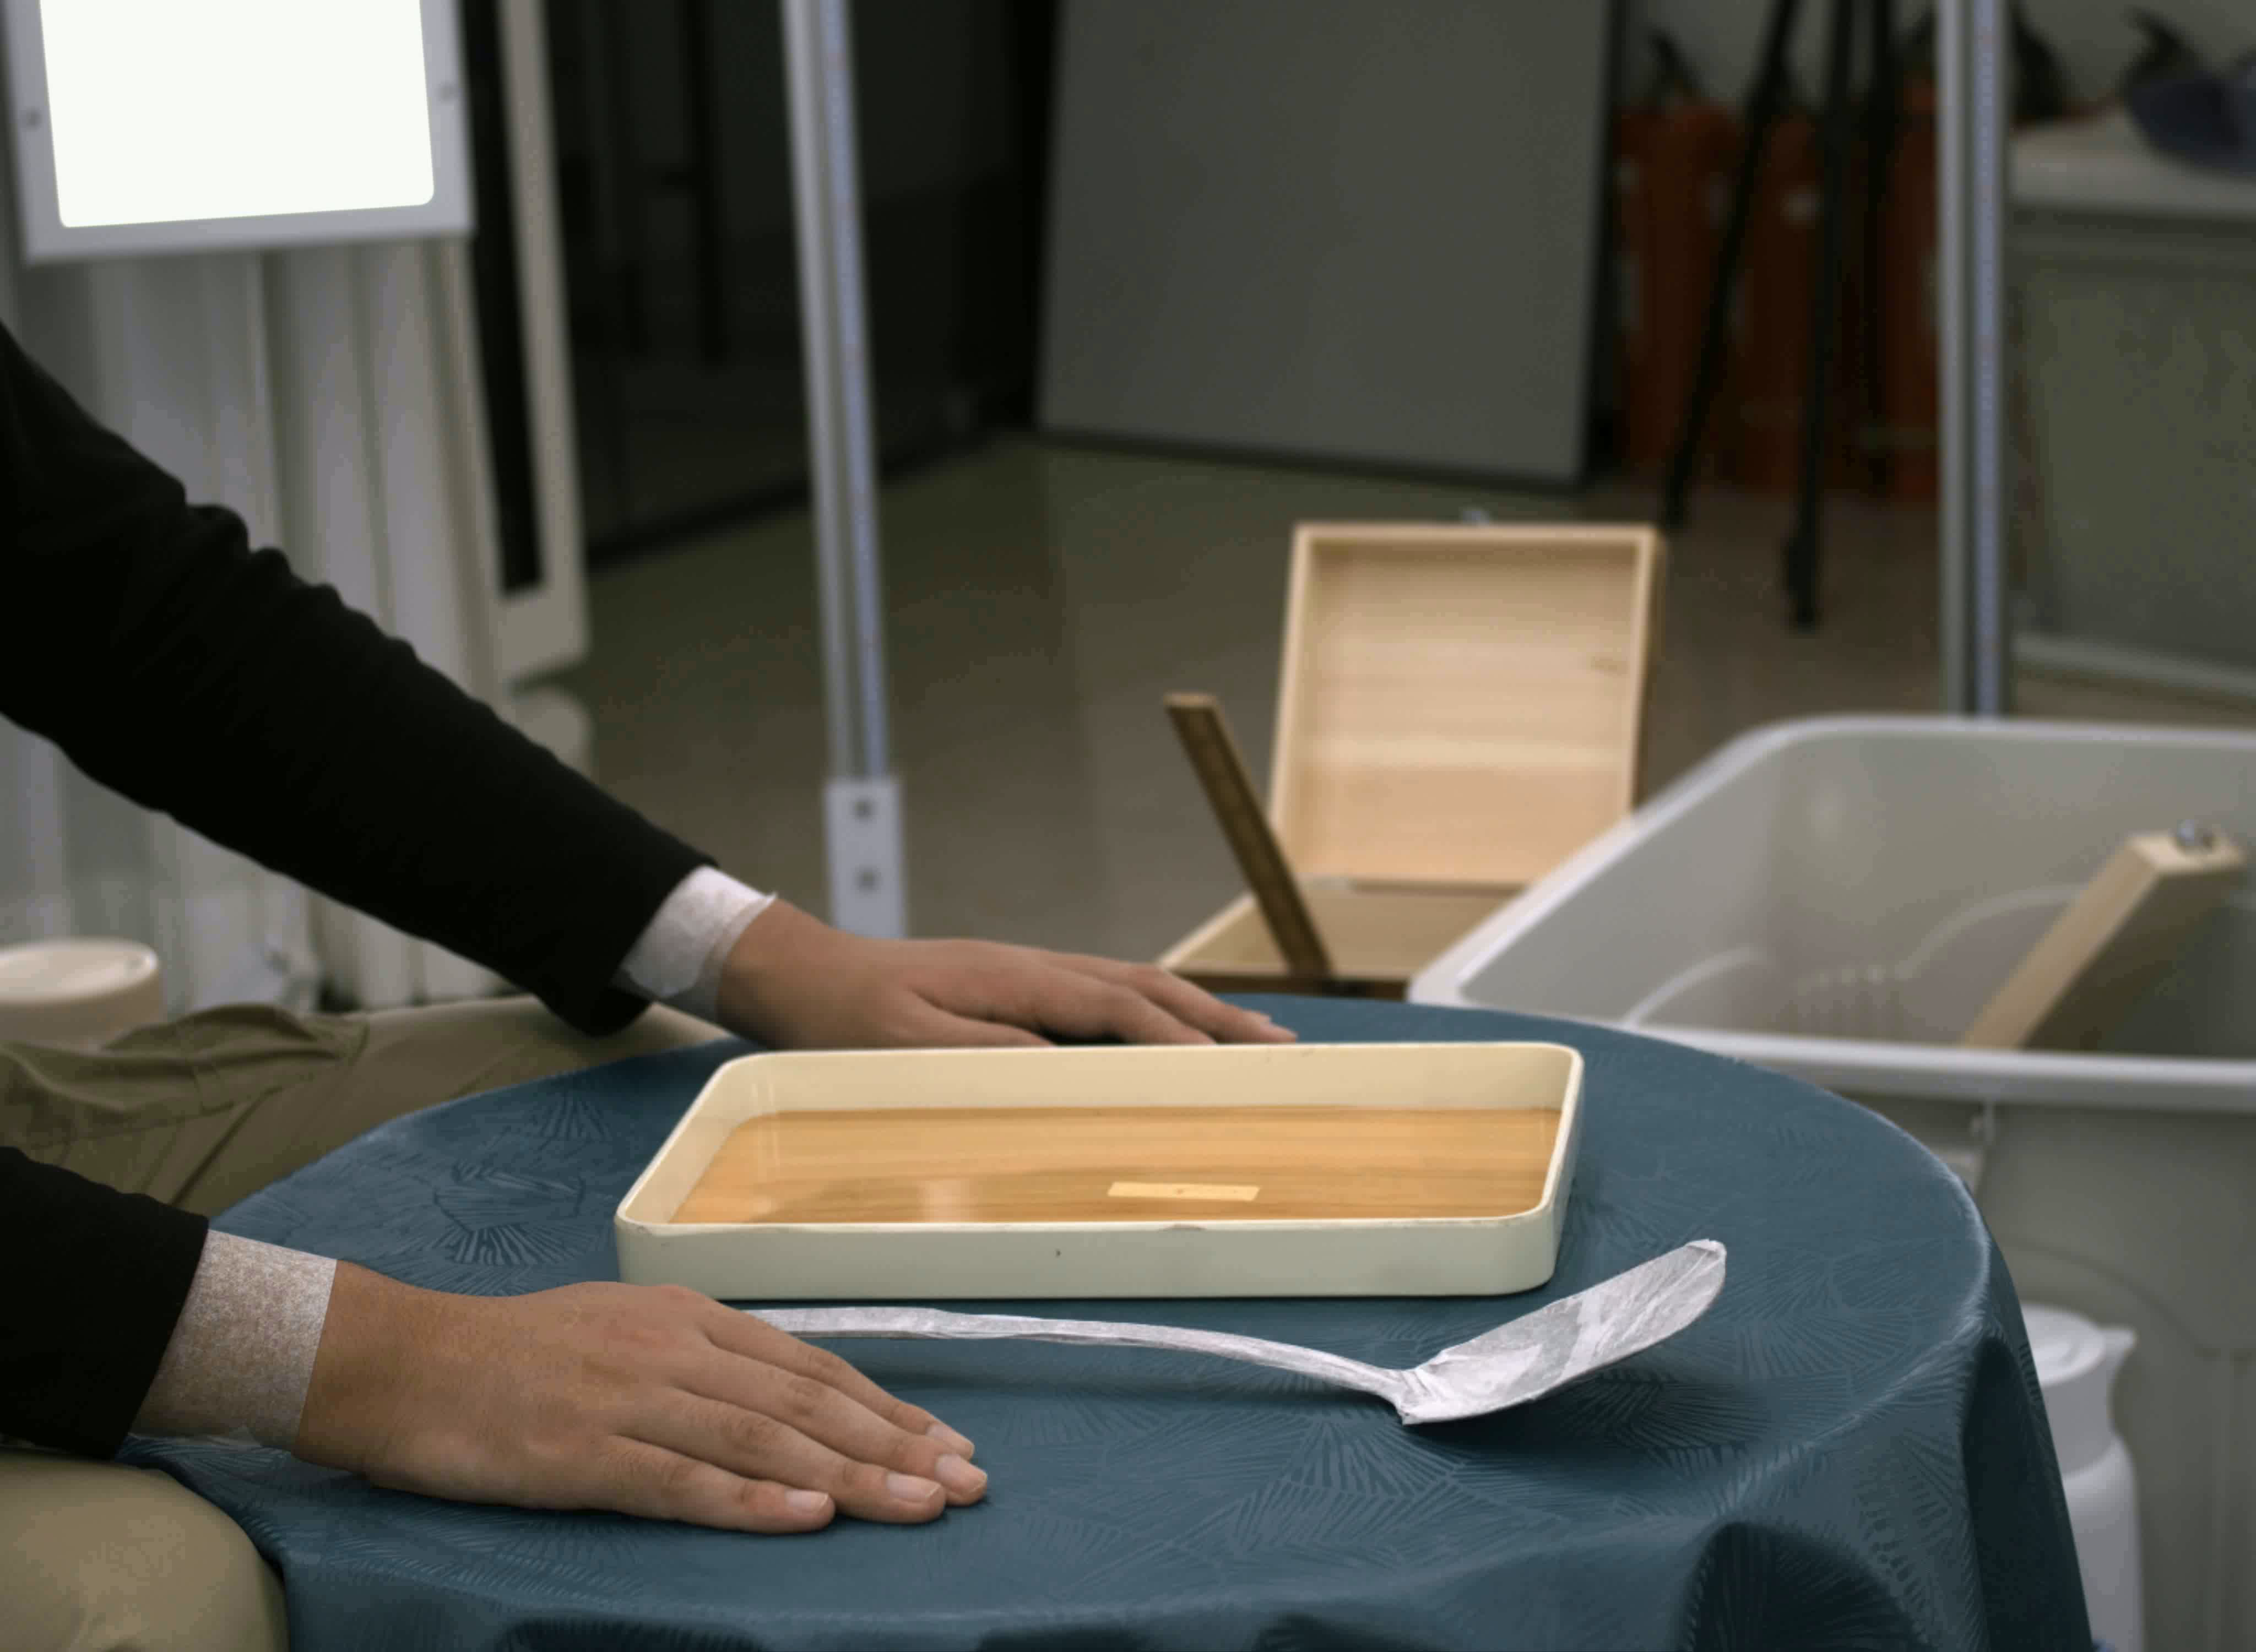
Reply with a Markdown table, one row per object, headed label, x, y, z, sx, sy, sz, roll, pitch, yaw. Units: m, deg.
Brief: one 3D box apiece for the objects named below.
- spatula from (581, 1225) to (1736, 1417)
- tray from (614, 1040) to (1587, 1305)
| label | x | y | z | sx | sy | sz | roll | pitch | yaw |
| --- | --- | --- | --- | --- | --- | --- | --- | --- | --- |
| spatula | 0.000 | 0.146 | 1.588 | 0.364 | 0.045 | 0.098 | 1 | 15 | 18 |
| tray | -0.004 | 0.112 | 1.752 | 0.298 | 0.028 | 0.191 | -2 | 14 | 11 |
